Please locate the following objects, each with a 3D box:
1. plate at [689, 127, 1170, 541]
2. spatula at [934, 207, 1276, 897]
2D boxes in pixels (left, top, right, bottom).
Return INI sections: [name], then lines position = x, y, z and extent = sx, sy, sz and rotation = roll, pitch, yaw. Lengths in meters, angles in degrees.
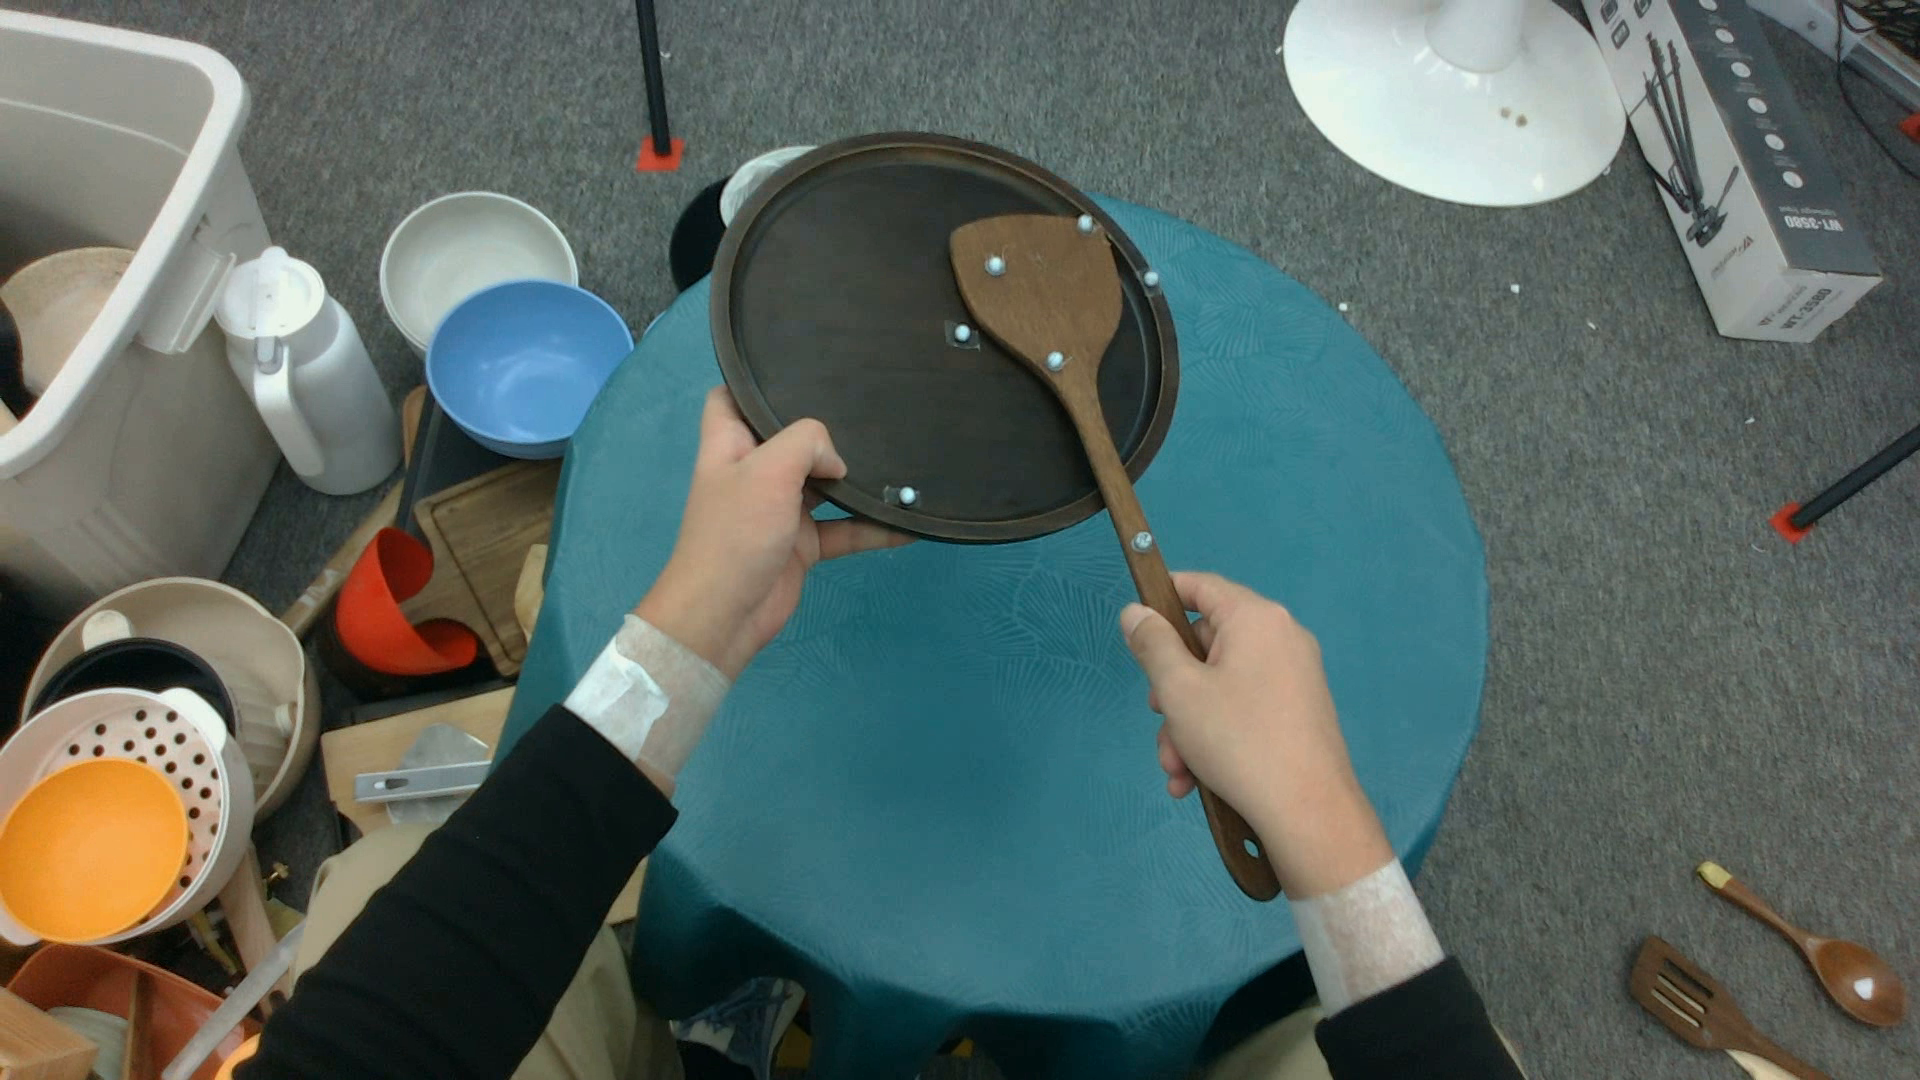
[plate]
position = -0.013, -0.112, 0.713
extent = 0.255, 0.029, 0.256
rotation = 7, 61, -13
[spatula]
position = 0.075, -0.016, 0.670
extent = 0.096, 0.015, 0.387
rotation = -7, 62, -21
